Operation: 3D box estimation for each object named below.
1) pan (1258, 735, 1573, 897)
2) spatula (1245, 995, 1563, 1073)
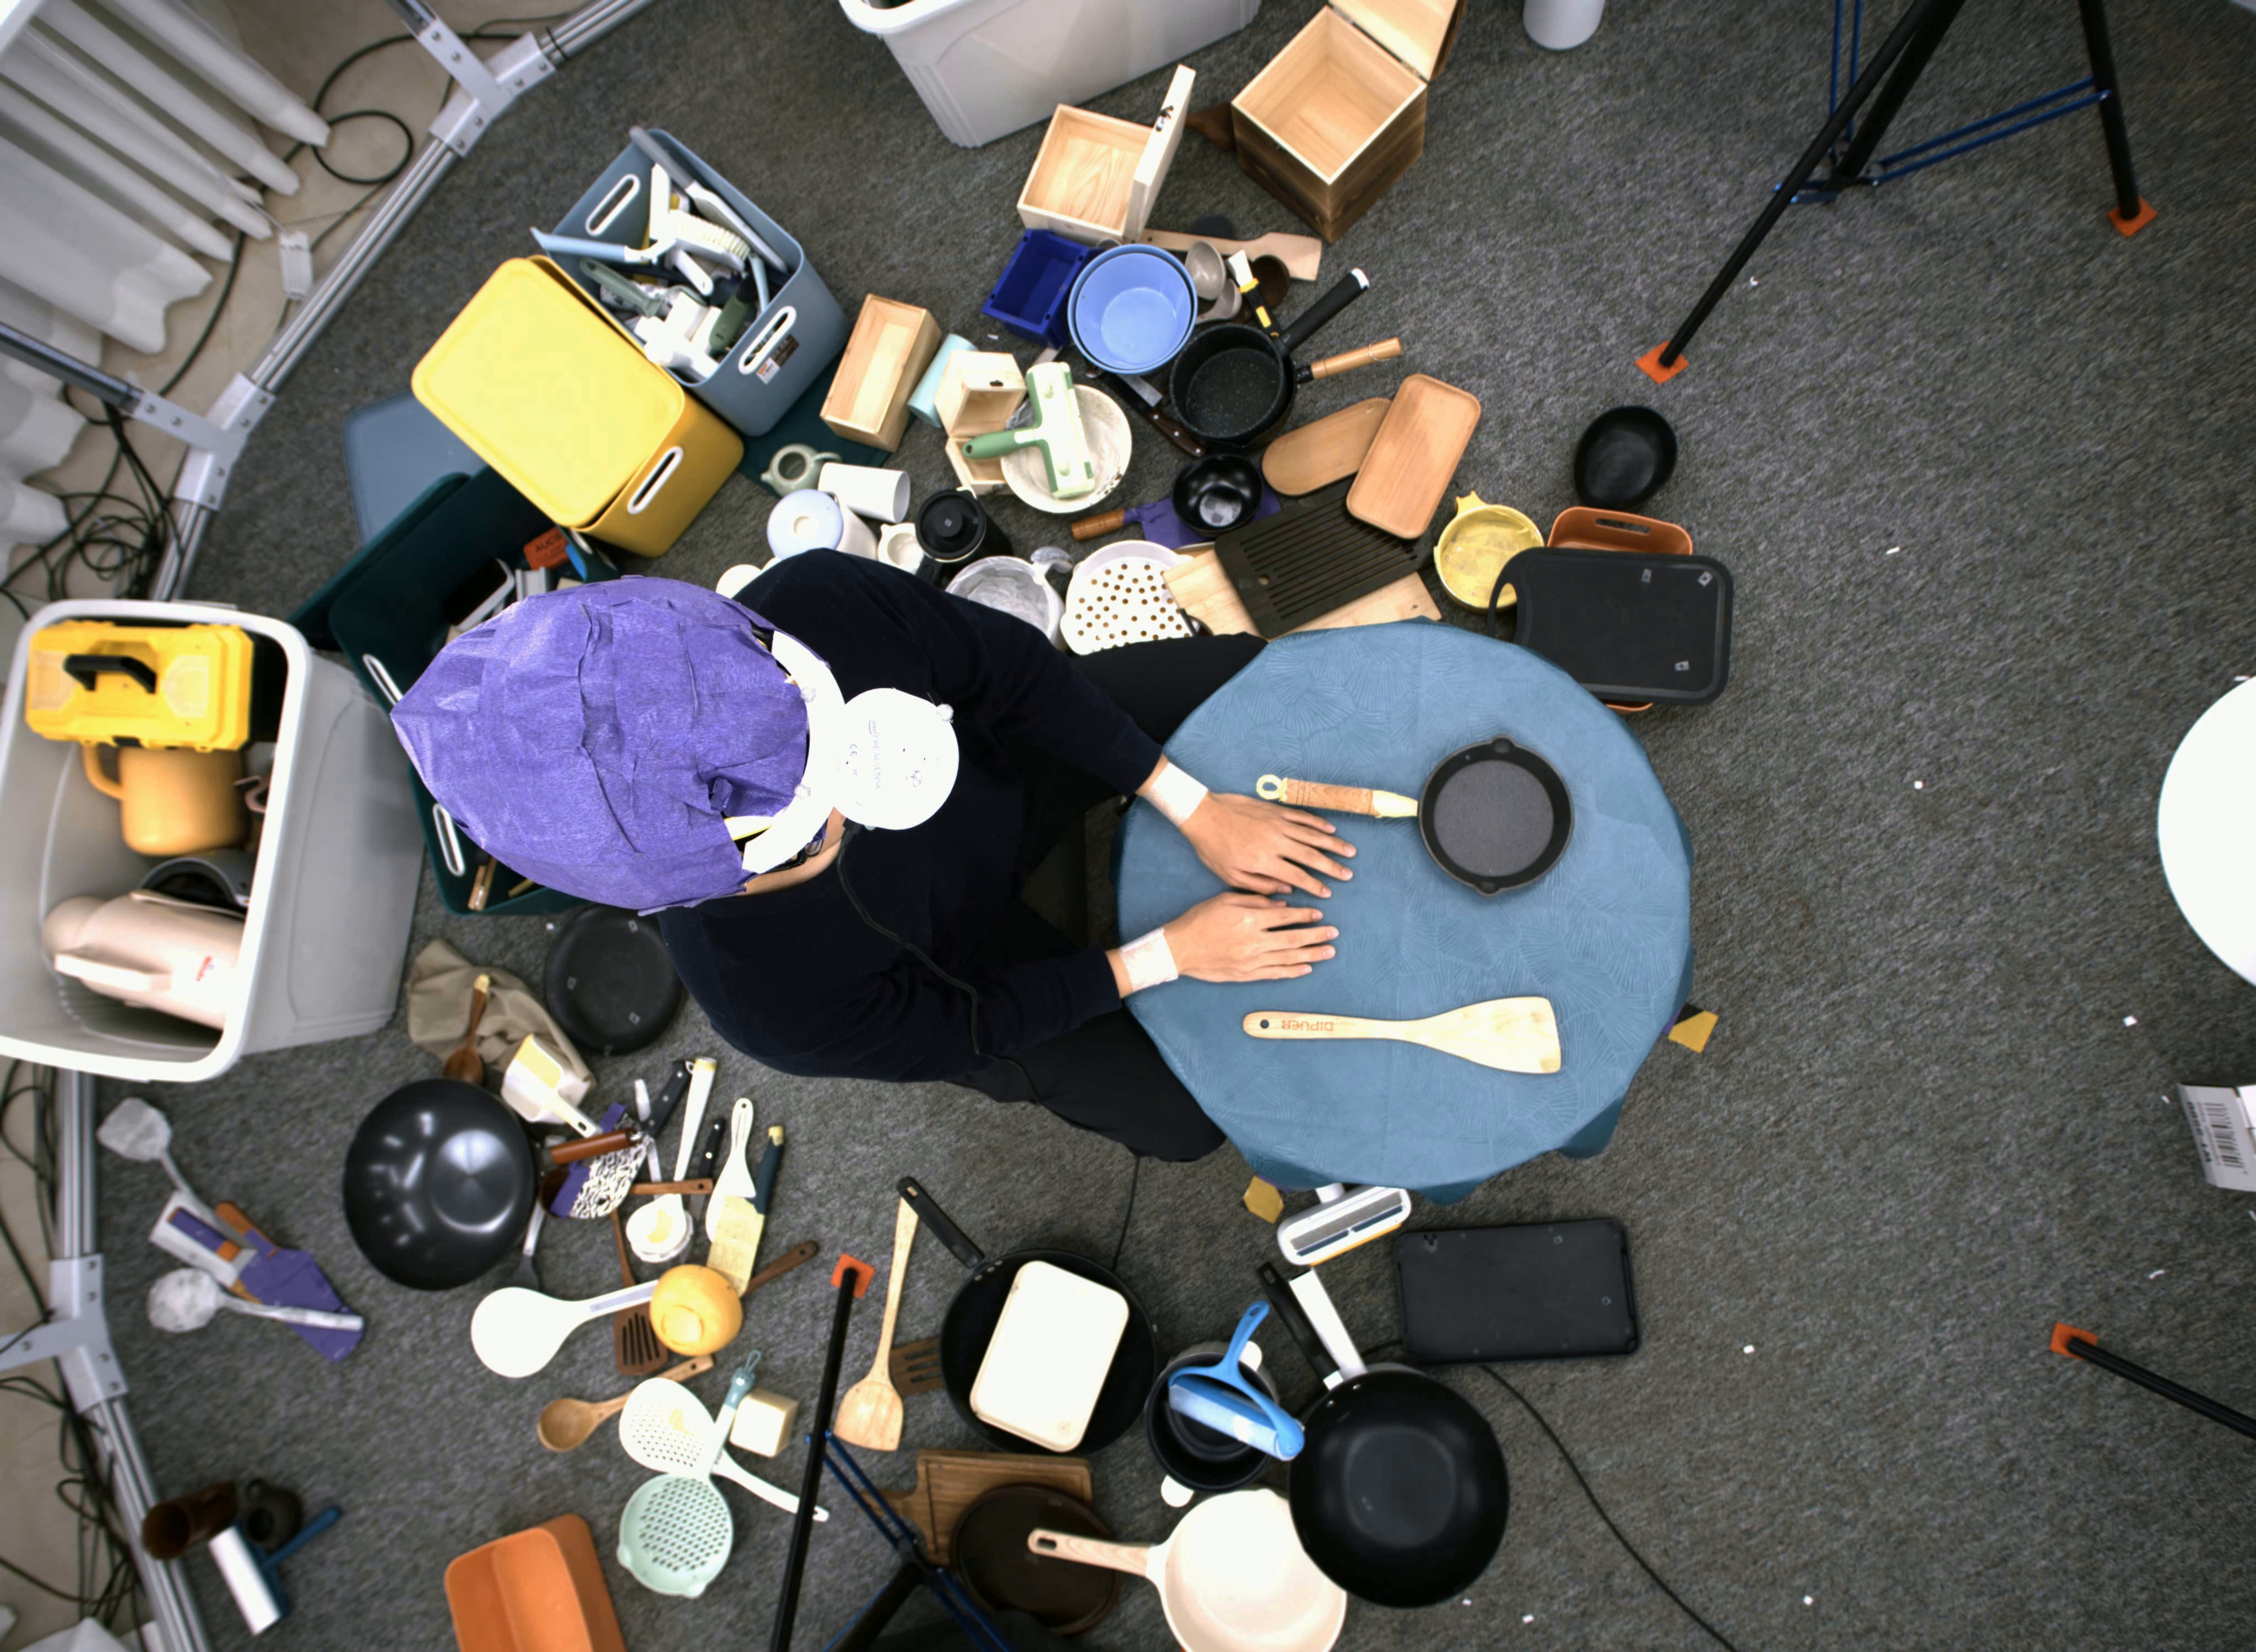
[{"bbox_3d":[0.297,-0.024,1.435,0.325,0.049,0.168,8,88,9],"label":"pan"},{"bbox_3d":[0.285,0.210,1.441,0.329,0.016,0.079,1,86,11],"label":"spatula"}]
